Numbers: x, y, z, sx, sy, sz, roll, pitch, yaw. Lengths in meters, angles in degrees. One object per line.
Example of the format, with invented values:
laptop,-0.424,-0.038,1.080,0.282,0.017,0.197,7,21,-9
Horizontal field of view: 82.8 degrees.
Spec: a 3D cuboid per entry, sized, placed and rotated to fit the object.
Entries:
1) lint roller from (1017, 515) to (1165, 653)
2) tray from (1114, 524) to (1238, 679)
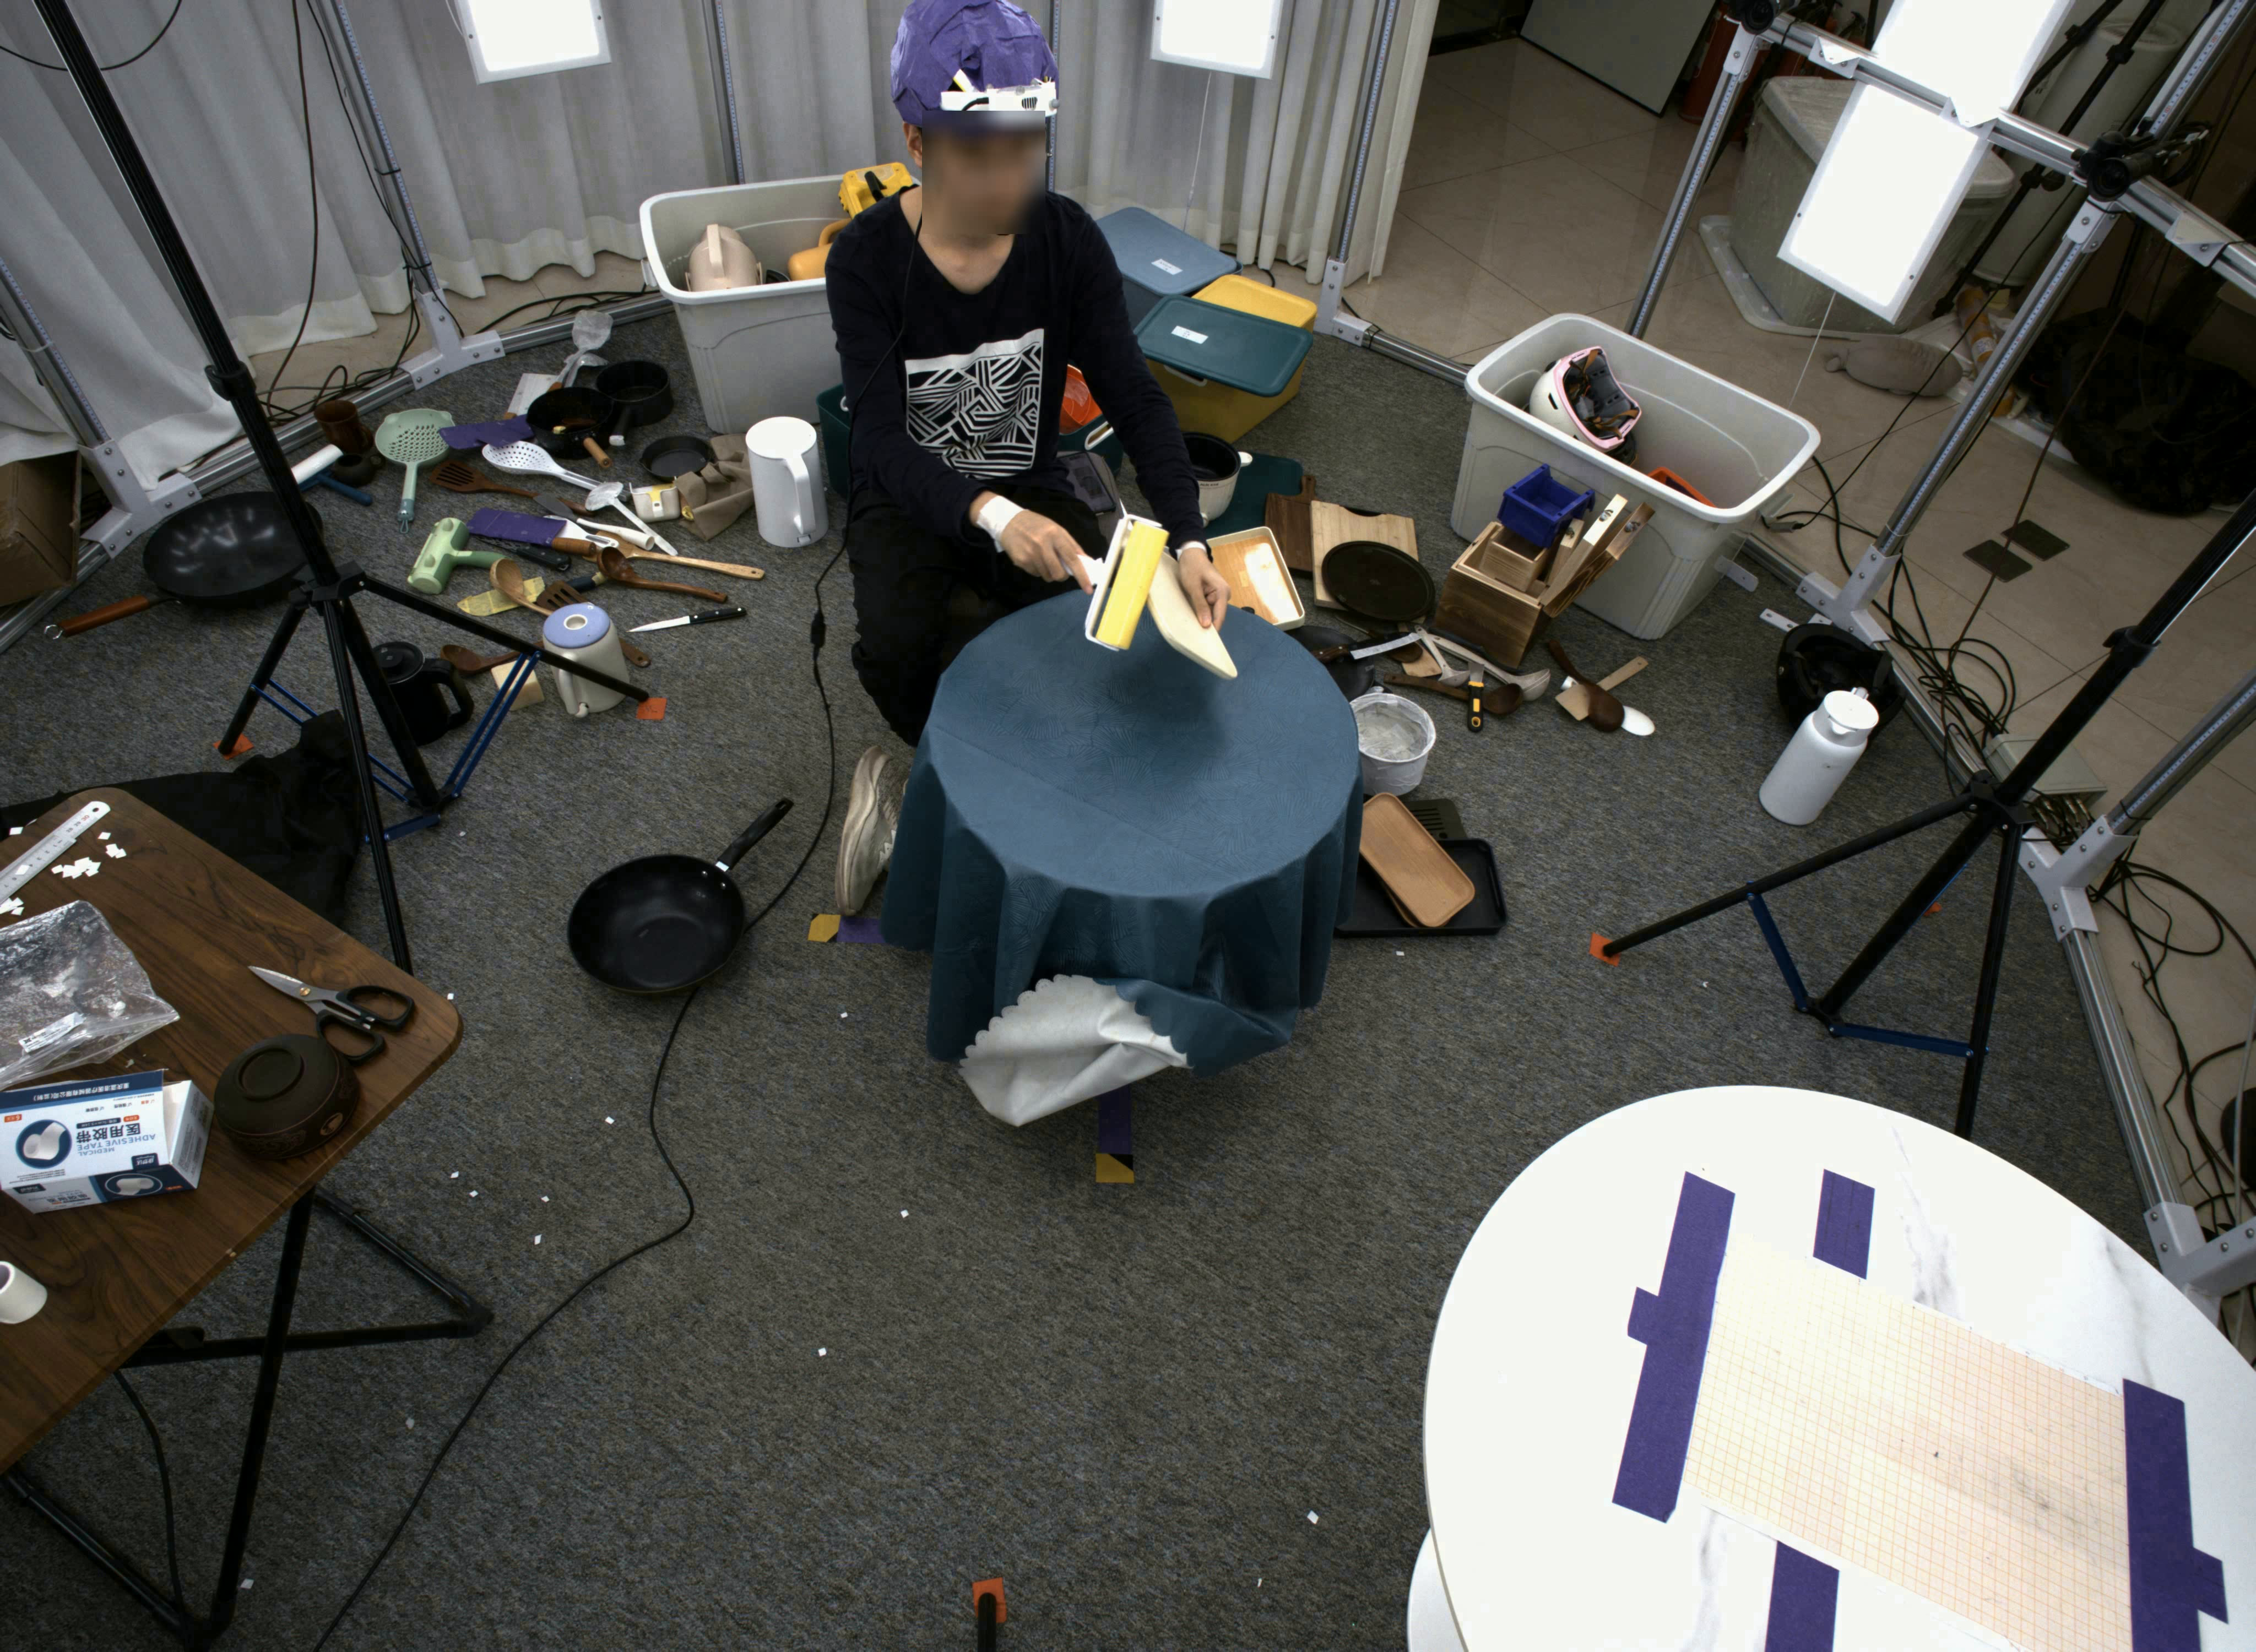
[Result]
lint roller,-0.064,-0.336,1.692,0.193,0.173,0.051,19,10,12
tray,0.063,-0.307,1.765,0.169,0.017,0.245,23,36,-47
